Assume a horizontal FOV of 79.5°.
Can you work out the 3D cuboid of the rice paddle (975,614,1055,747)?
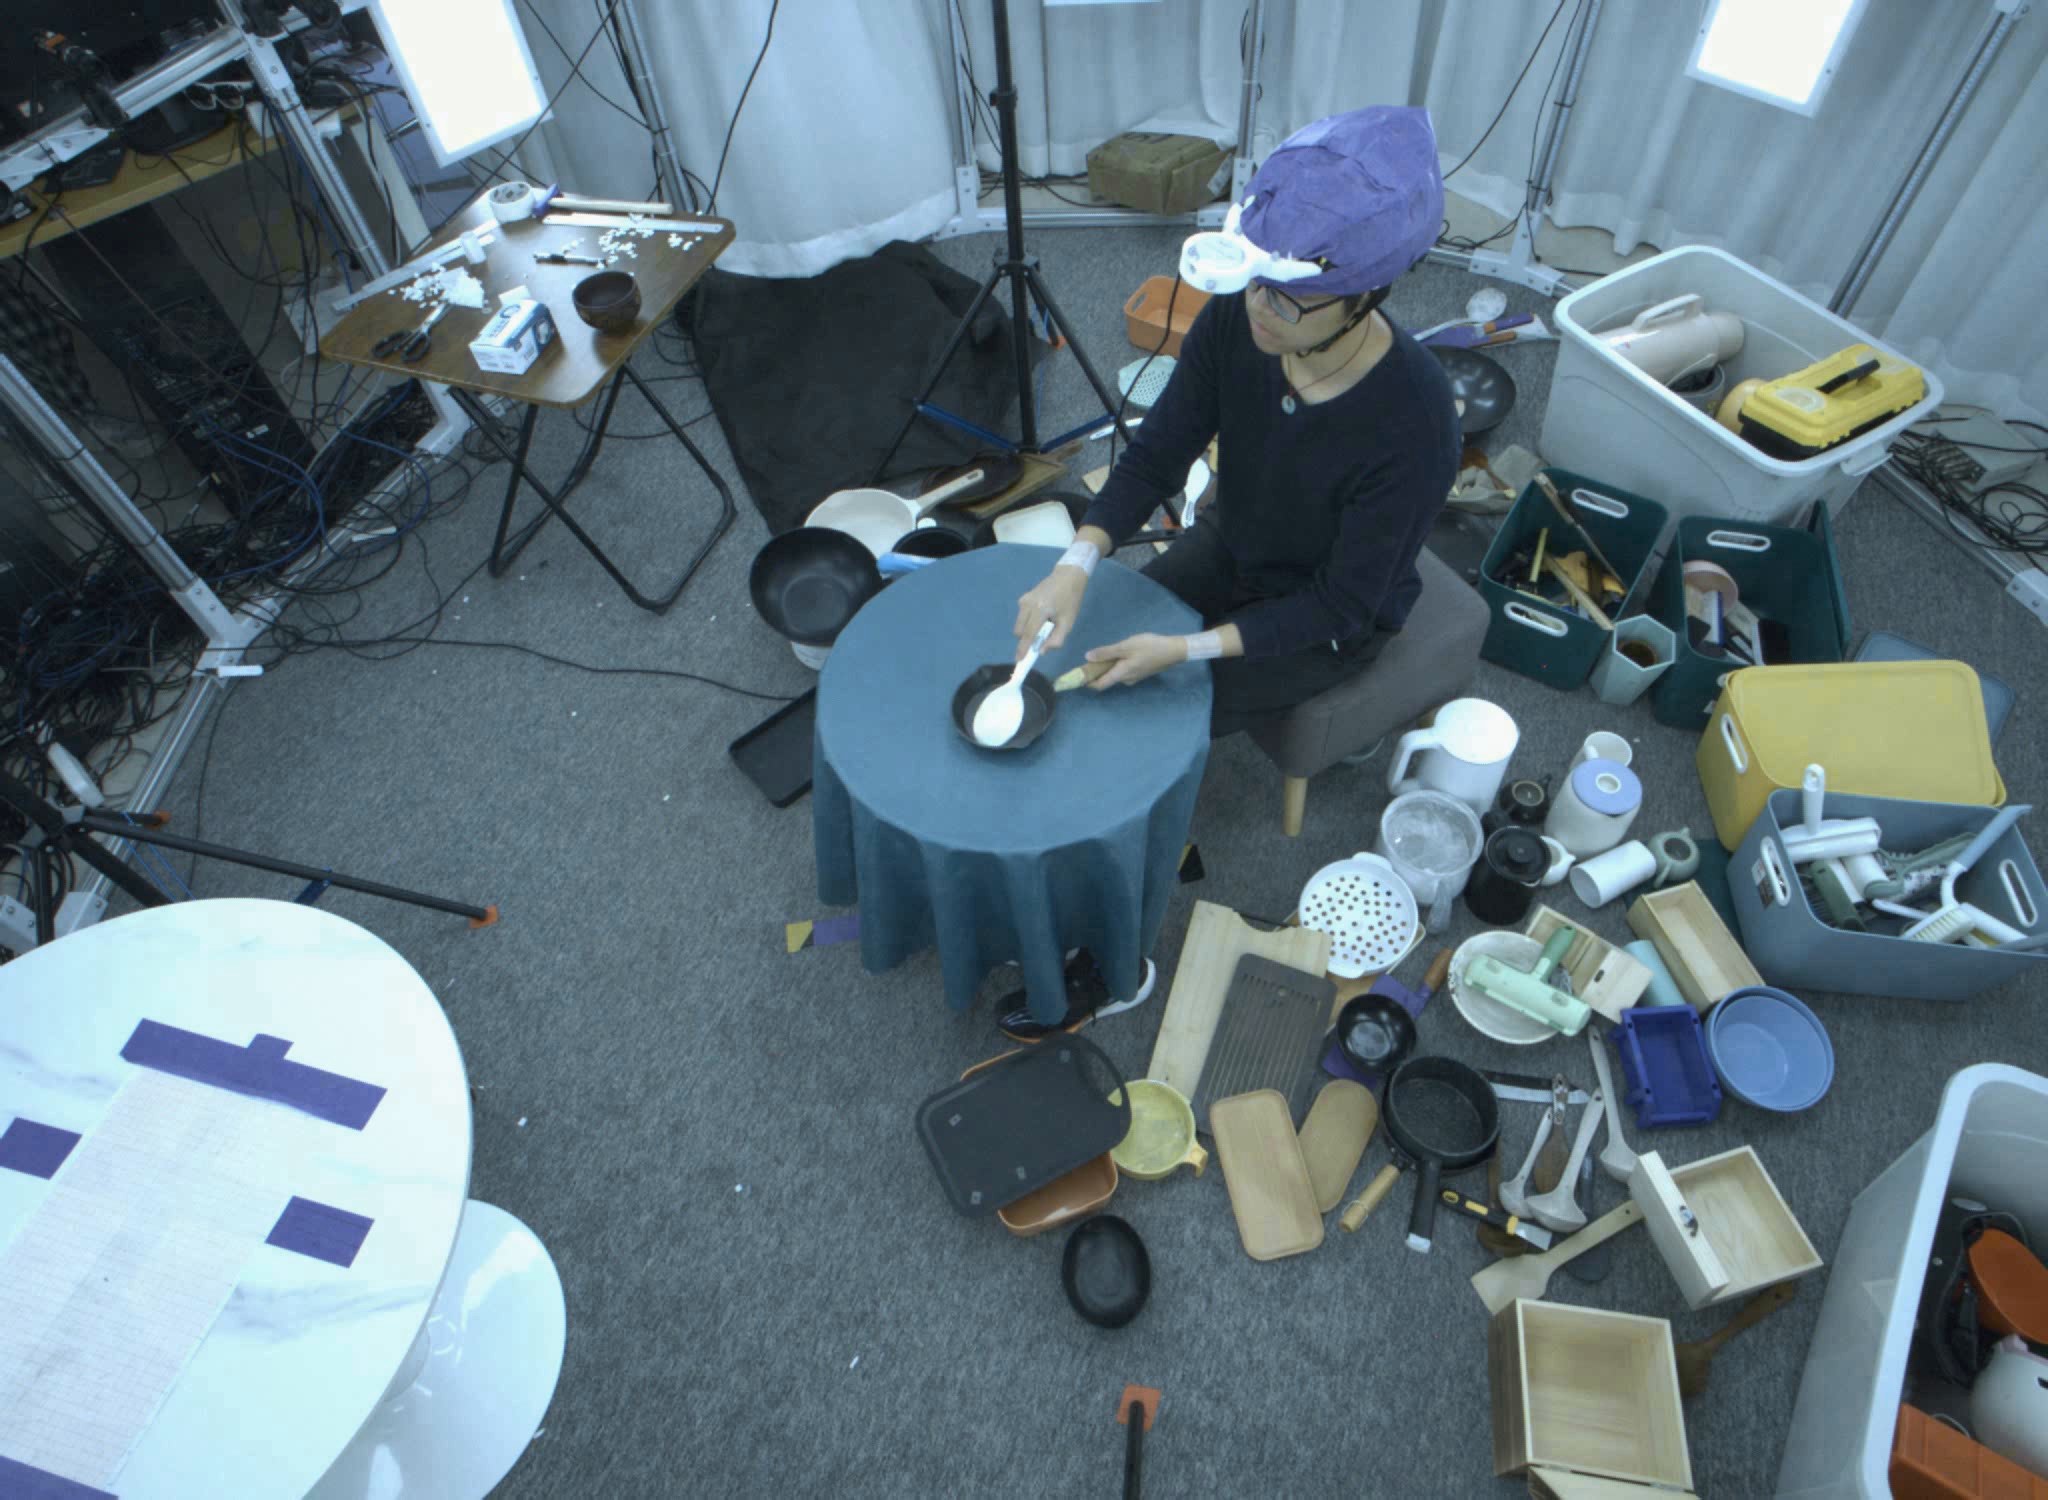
[{"bbox_3d":[-0.011,-0.096,1.762,0.070,0.205,0.029,21,10,-25],"label":"rice paddle"}]

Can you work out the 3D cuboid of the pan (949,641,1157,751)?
[{"bbox_3d":[0.048,-0.092,1.812,0.325,0.050,0.166,-20,56,-7],"label":"pan"}]
